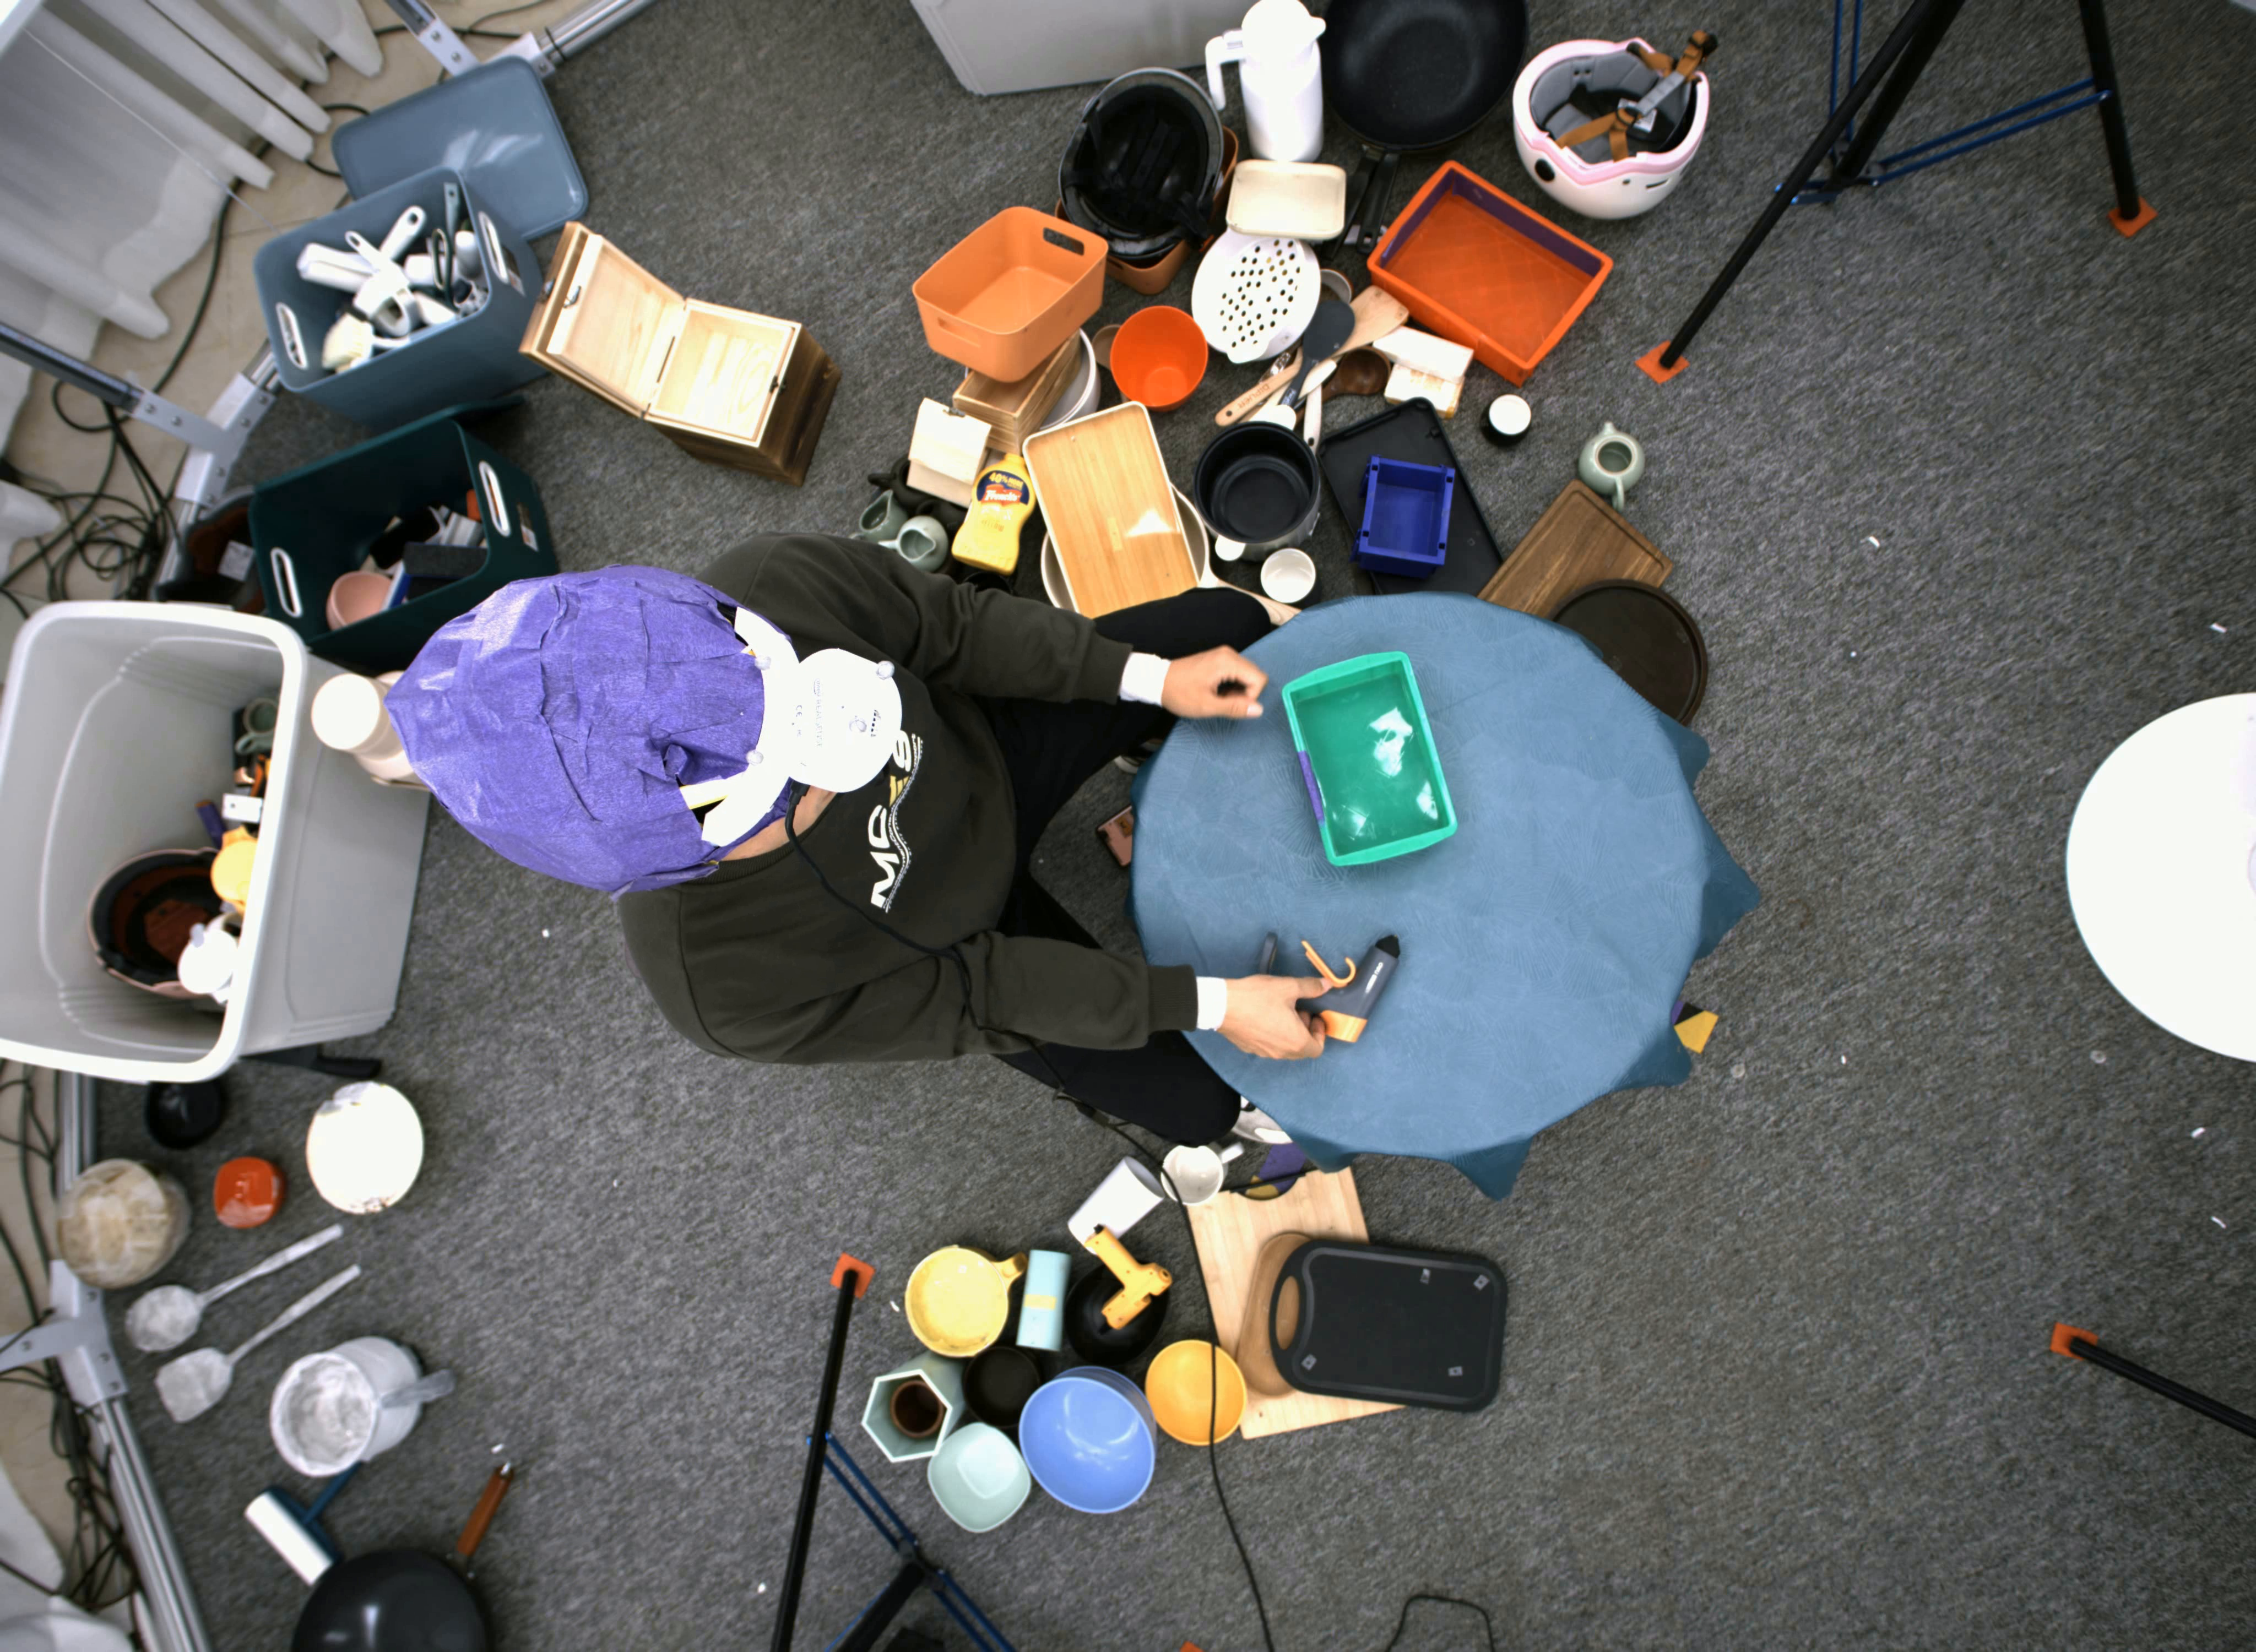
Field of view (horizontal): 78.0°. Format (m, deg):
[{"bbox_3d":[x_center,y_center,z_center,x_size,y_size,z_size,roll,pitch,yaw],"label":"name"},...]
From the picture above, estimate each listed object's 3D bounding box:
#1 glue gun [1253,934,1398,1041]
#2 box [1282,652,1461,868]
[{"bbox_3d":[0.207,0.157,1.449,0.140,0.041,0.117,11,83,8],"label":"glue gun"},{"bbox_3d":[0.253,-0.067,1.439,0.139,0.065,0.209,-17,85,10],"label":"box"}]
